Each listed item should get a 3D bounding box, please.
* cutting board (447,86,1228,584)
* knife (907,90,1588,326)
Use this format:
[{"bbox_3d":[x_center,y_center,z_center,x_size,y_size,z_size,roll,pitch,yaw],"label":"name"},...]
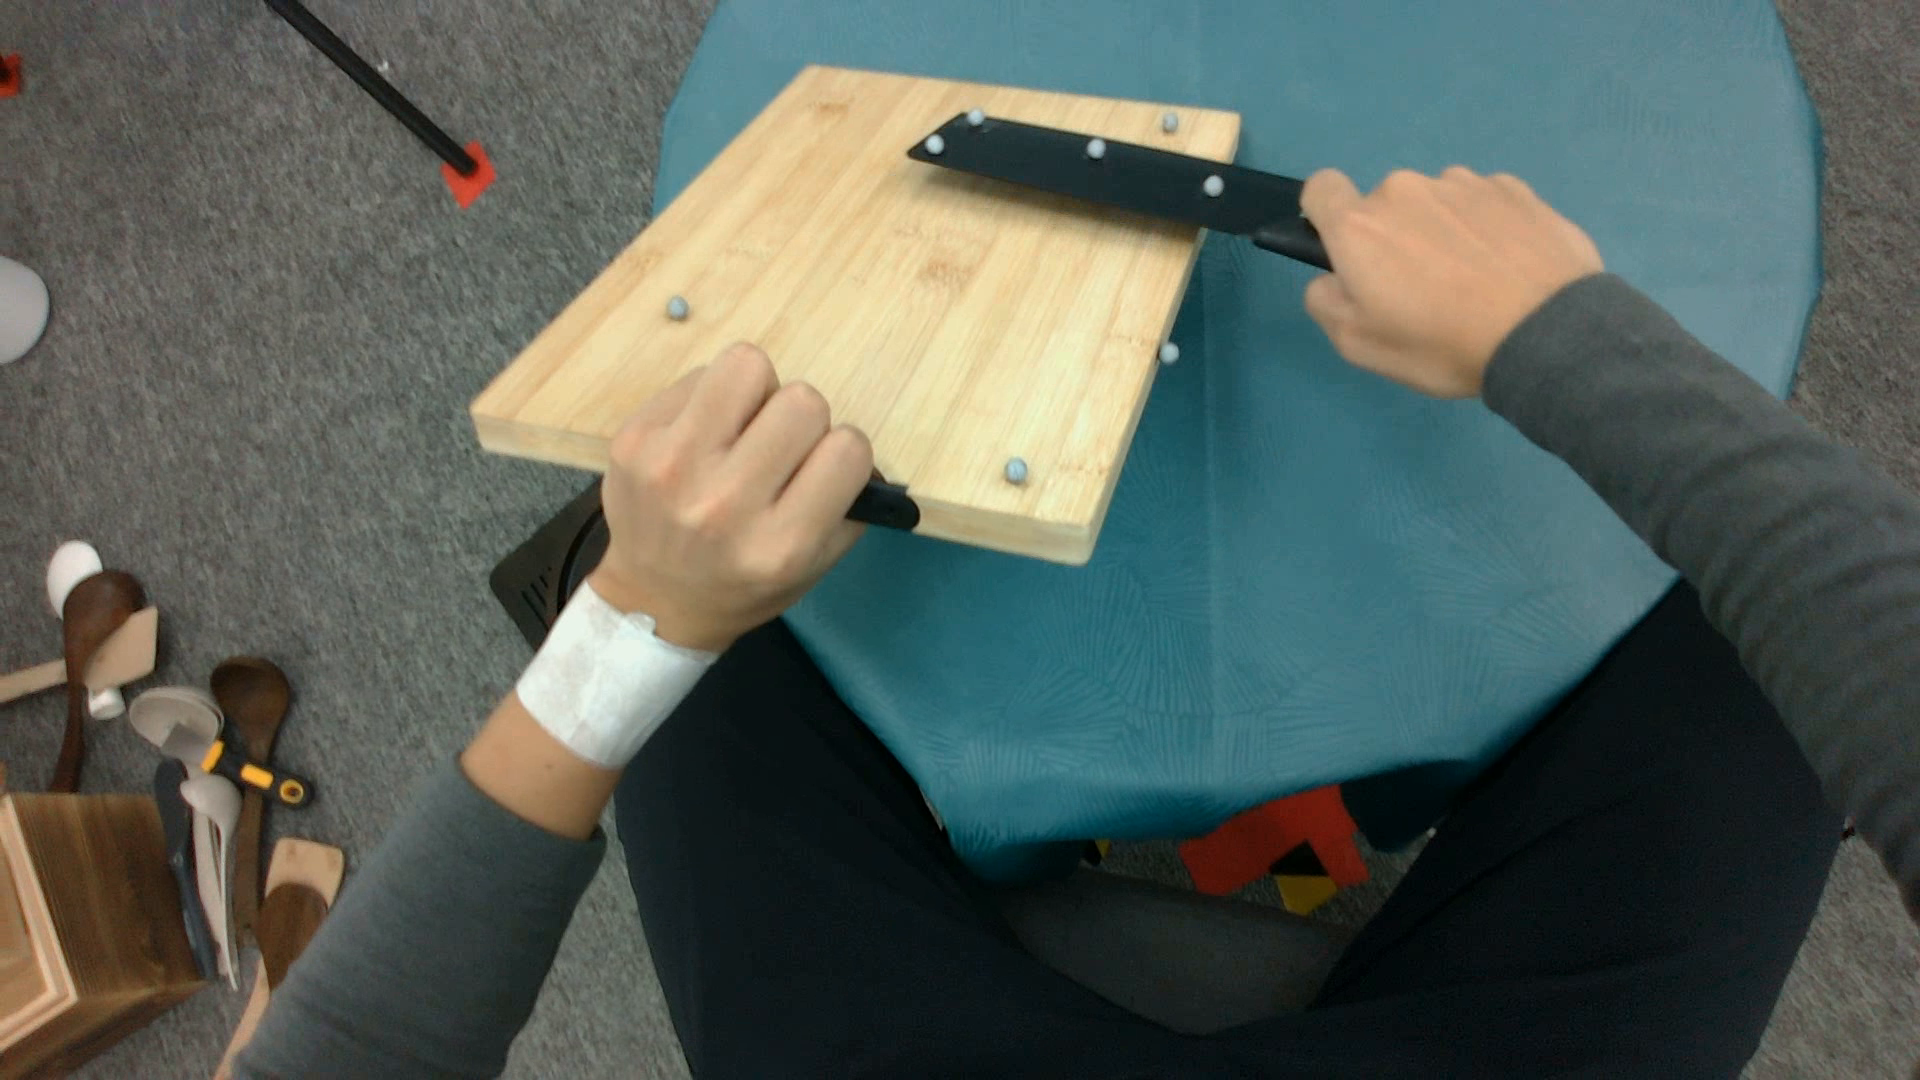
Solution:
[{"bbox_3d":[-0.027,-0.118,0.621,0.250,0.023,0.350,9,41,13],"label":"cutting board"},{"bbox_3d":[0.120,-0.152,0.608,0.302,0.021,0.081,23,48,20],"label":"knife"}]
